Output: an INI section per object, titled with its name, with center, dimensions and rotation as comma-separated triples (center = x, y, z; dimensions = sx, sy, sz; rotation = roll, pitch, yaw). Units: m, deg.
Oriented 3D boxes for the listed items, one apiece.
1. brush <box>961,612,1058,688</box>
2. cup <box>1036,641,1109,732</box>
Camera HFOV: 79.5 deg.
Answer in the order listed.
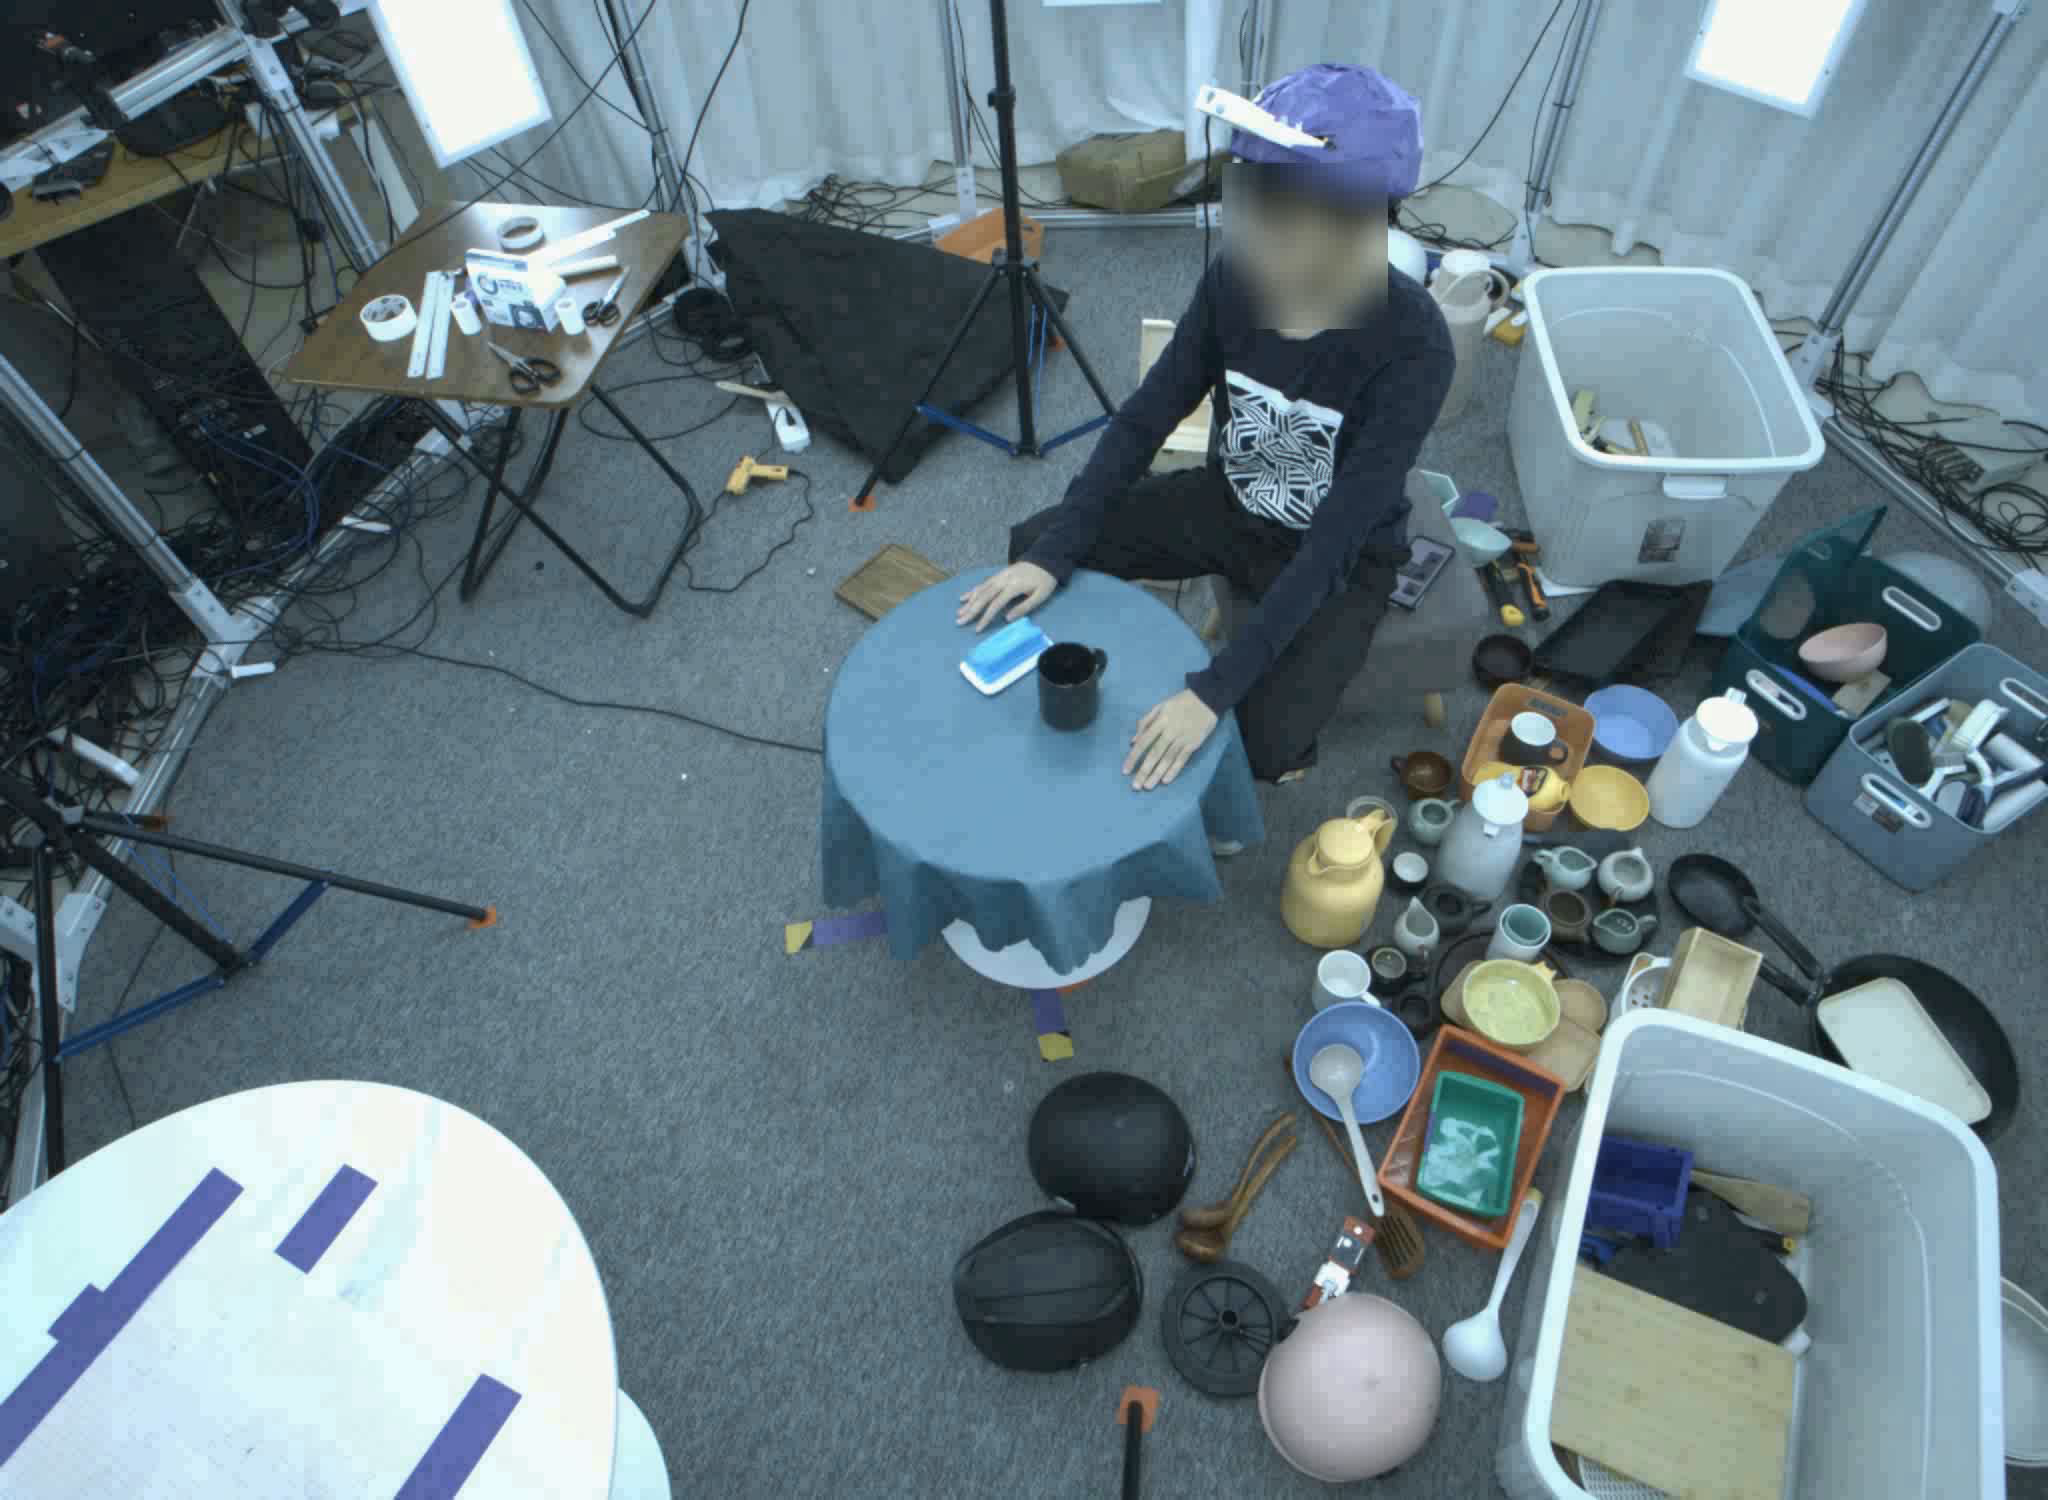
[brush]
center = -0.022, -0.159, 1.857
dimensions = 0.145, 0.056, 0.082
rotation = -35, 63, -17
[cup]
center = 0.076, -0.101, 1.787
dimensions = 0.124, 0.106, 0.087
rotation = -38, 59, -25
